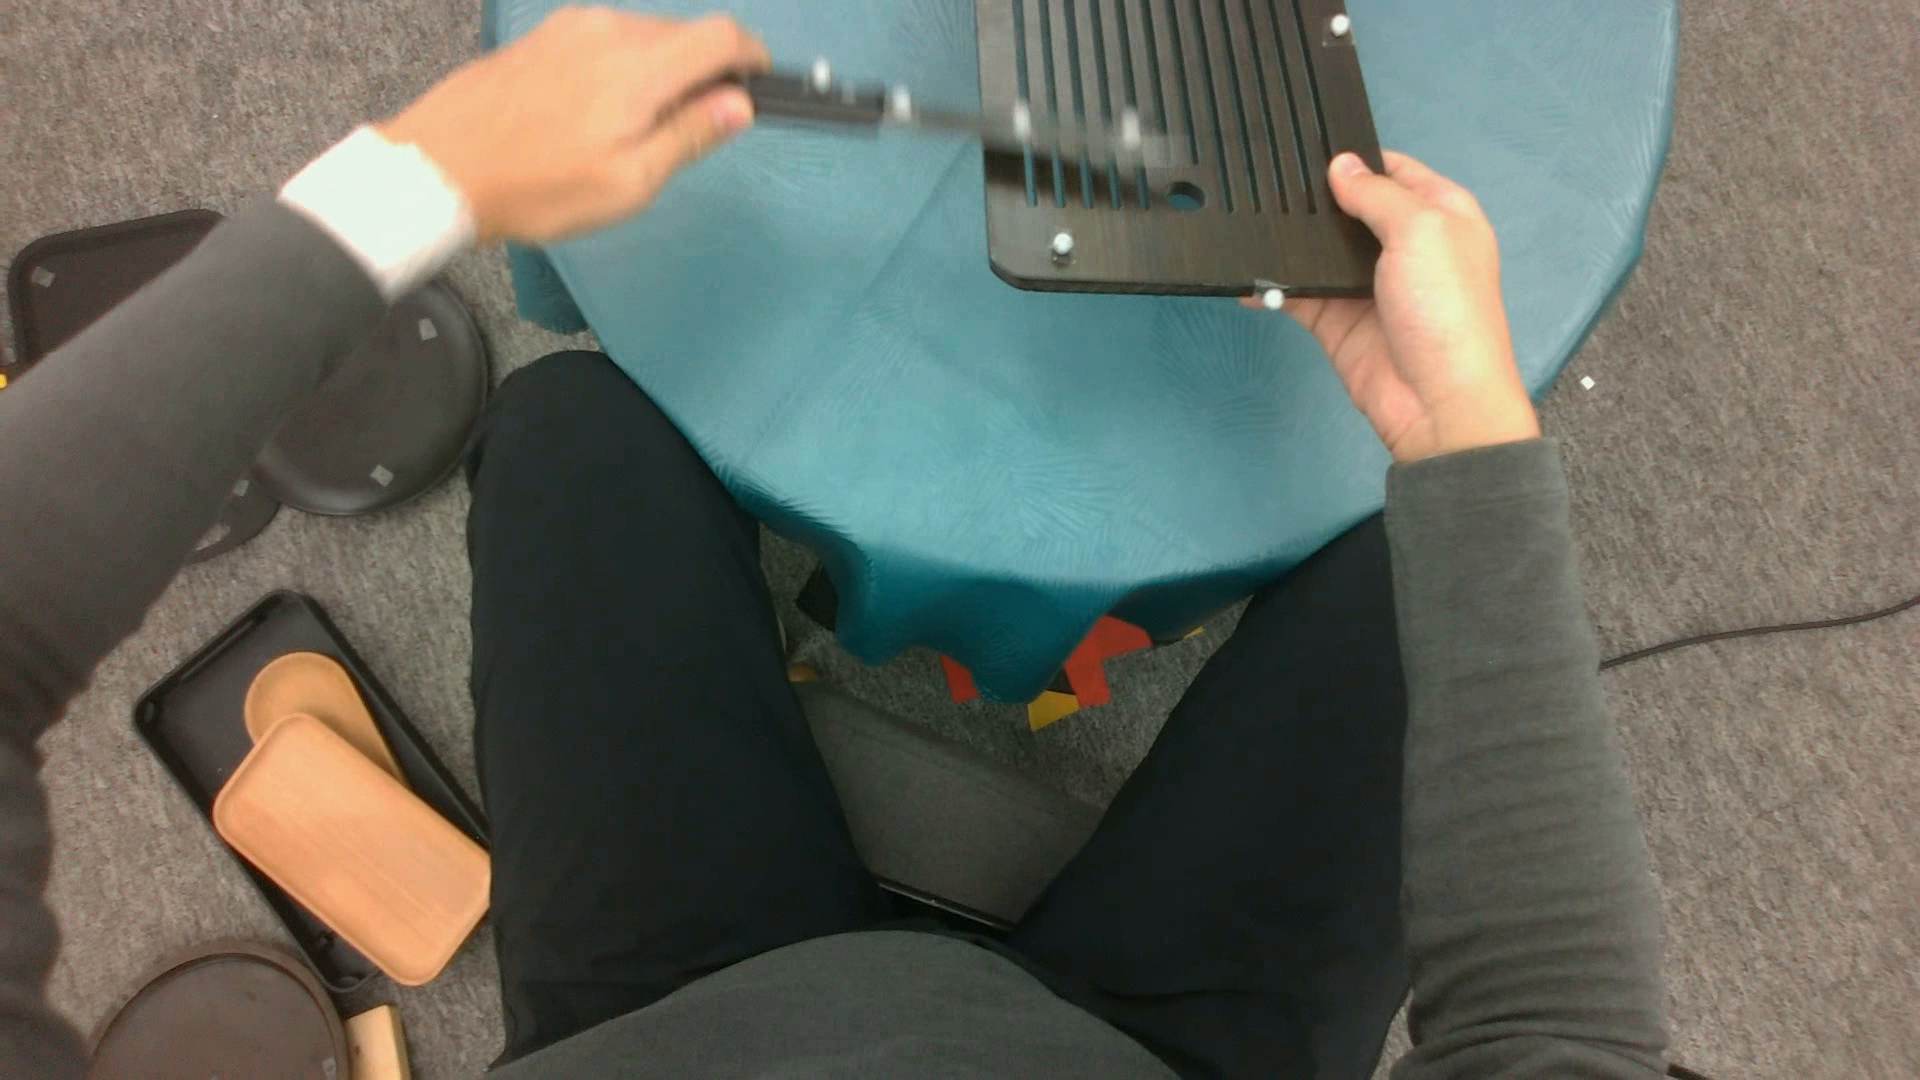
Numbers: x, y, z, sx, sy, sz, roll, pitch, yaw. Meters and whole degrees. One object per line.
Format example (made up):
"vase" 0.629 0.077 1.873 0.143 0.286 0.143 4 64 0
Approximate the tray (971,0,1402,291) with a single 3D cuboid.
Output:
"tray" 0.089 -0.234 0.626 0.170 0.018 0.307 0 61 -6

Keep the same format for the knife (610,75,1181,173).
"knife" -0.028 -0.166 0.562 0.238 0.016 0.024 8 44 1
